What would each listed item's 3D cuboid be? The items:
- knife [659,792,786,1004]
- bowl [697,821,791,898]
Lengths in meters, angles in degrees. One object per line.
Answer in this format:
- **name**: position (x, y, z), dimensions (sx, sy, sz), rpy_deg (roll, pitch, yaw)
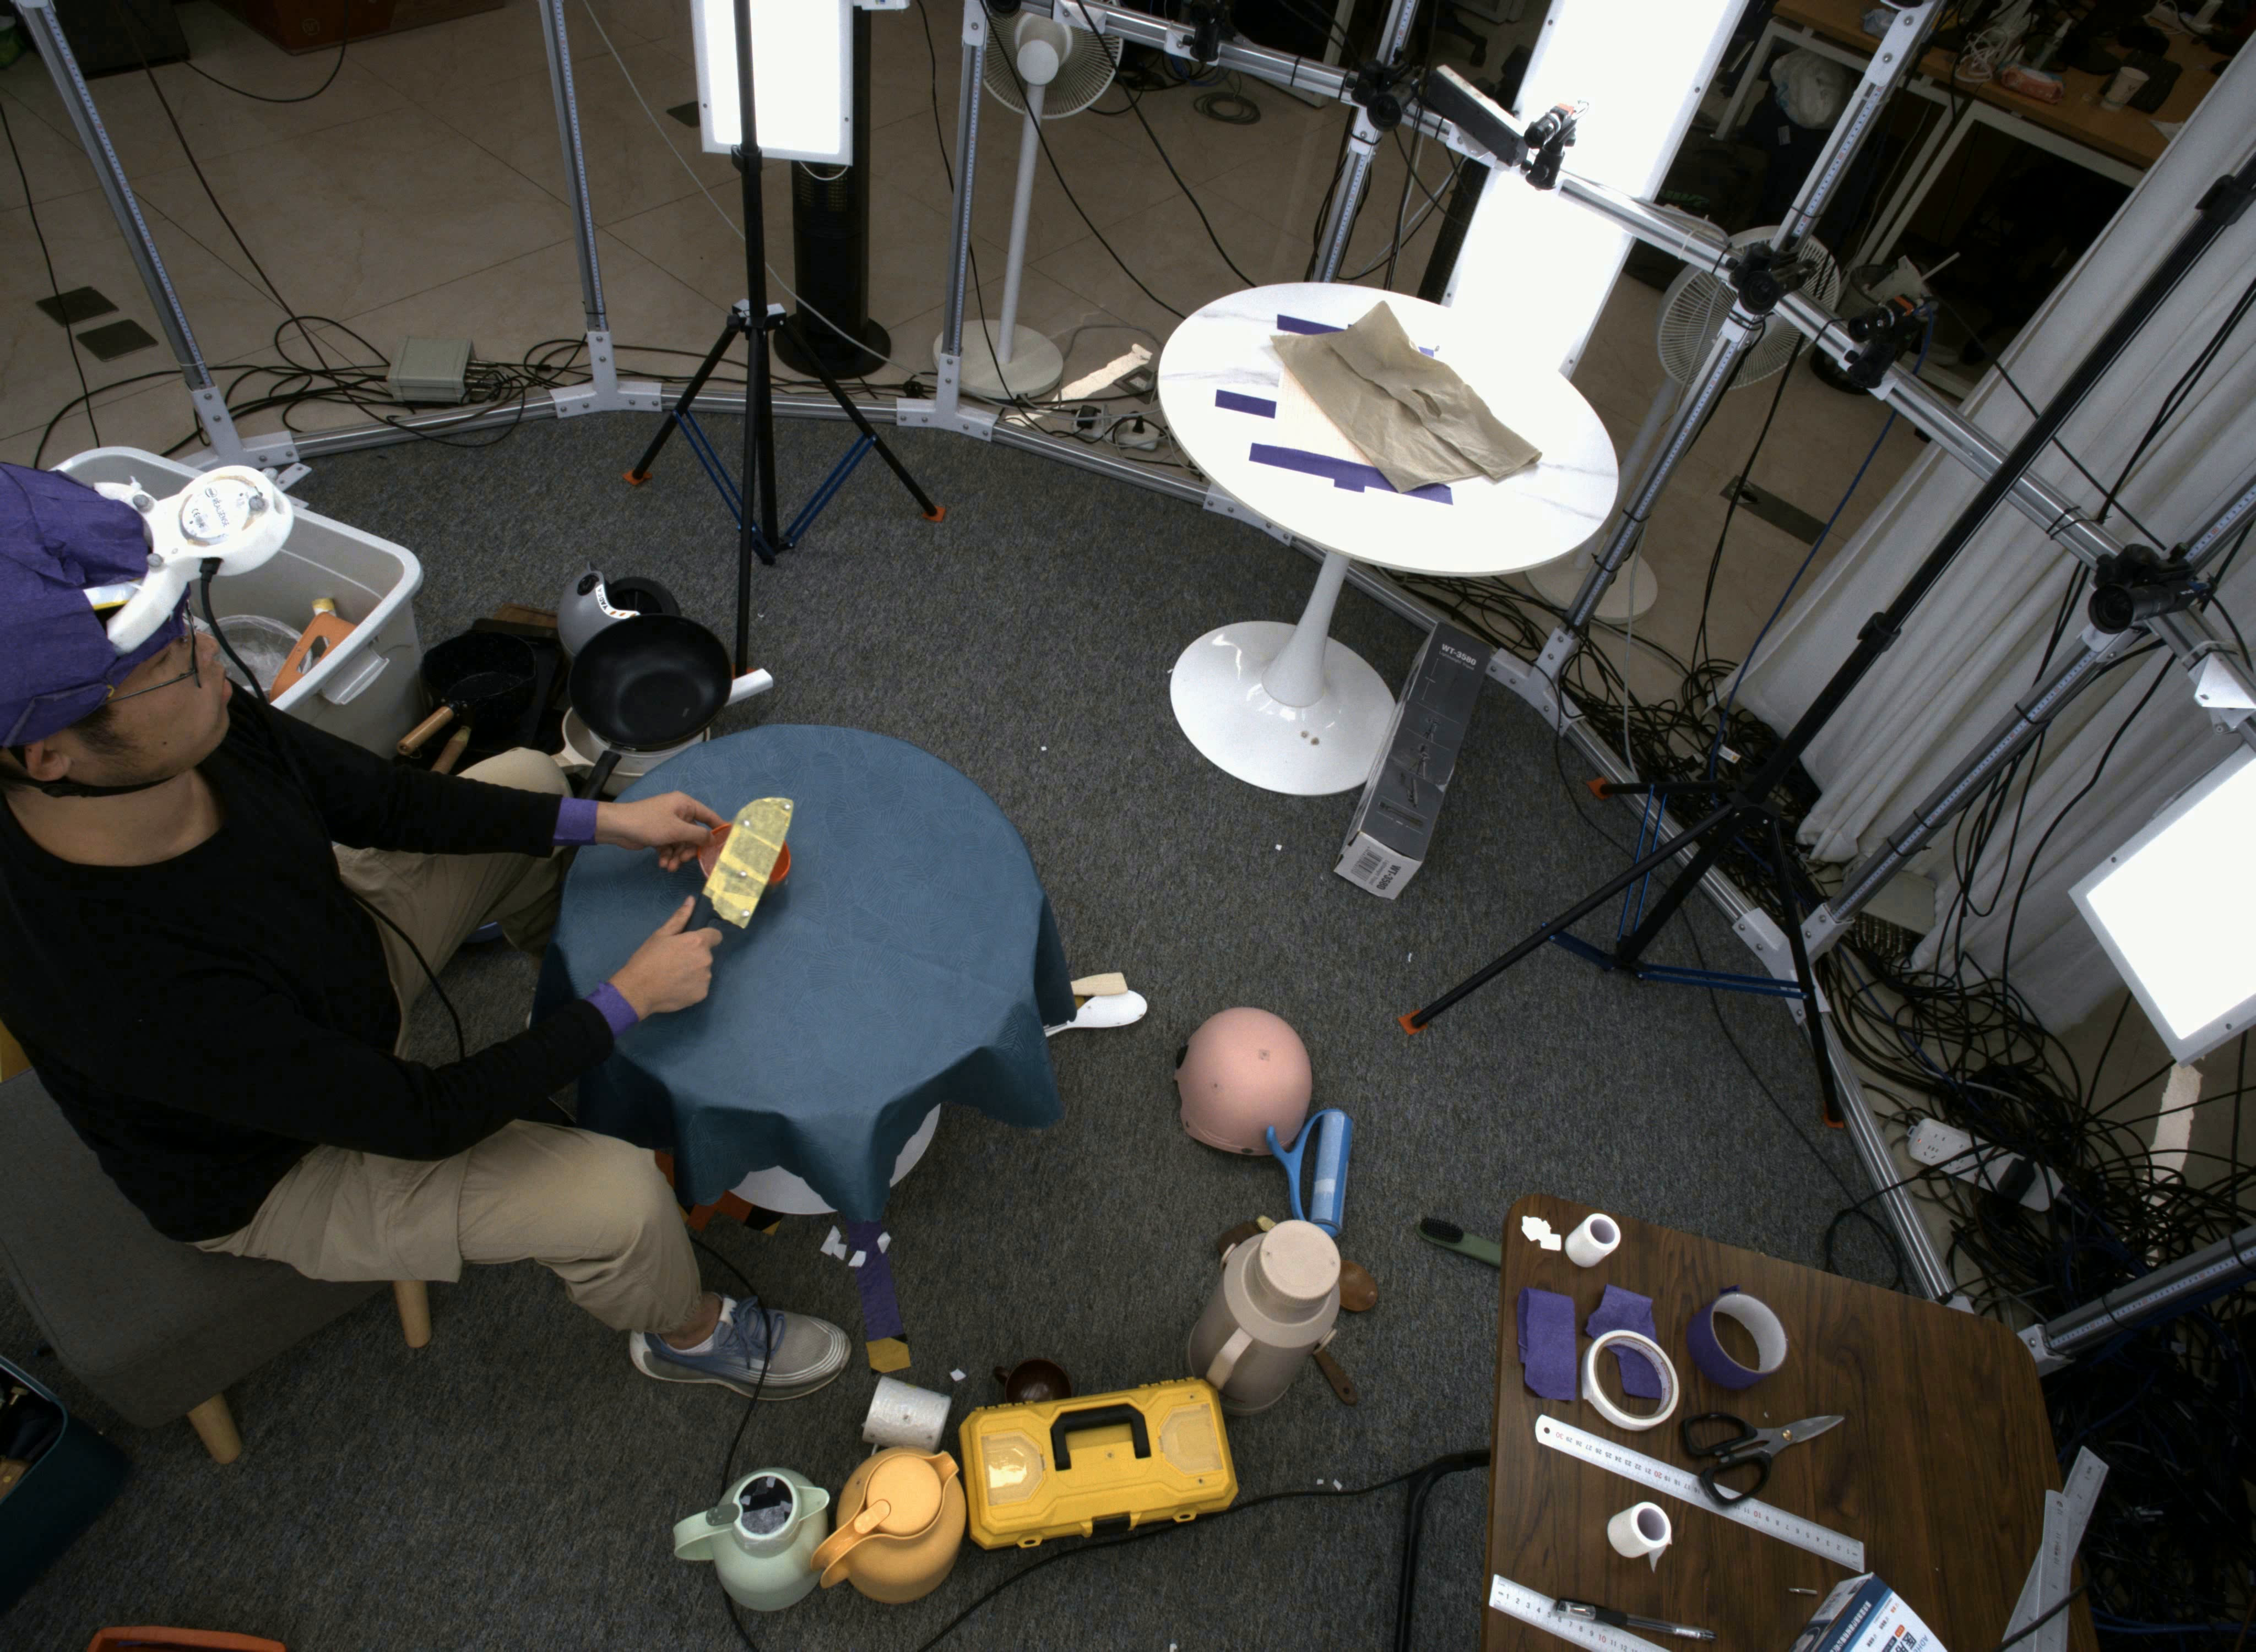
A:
- **knife**: position (-0.487, 0.084, 1.559), dimensions (0.084, 0.026, 0.289), rpy_deg (38, 65, -38)
- **bowl**: position (-0.484, 0.049, 1.635), dimensions (0.119, 0.052, 0.117), rpy_deg (9, 53, -10)
